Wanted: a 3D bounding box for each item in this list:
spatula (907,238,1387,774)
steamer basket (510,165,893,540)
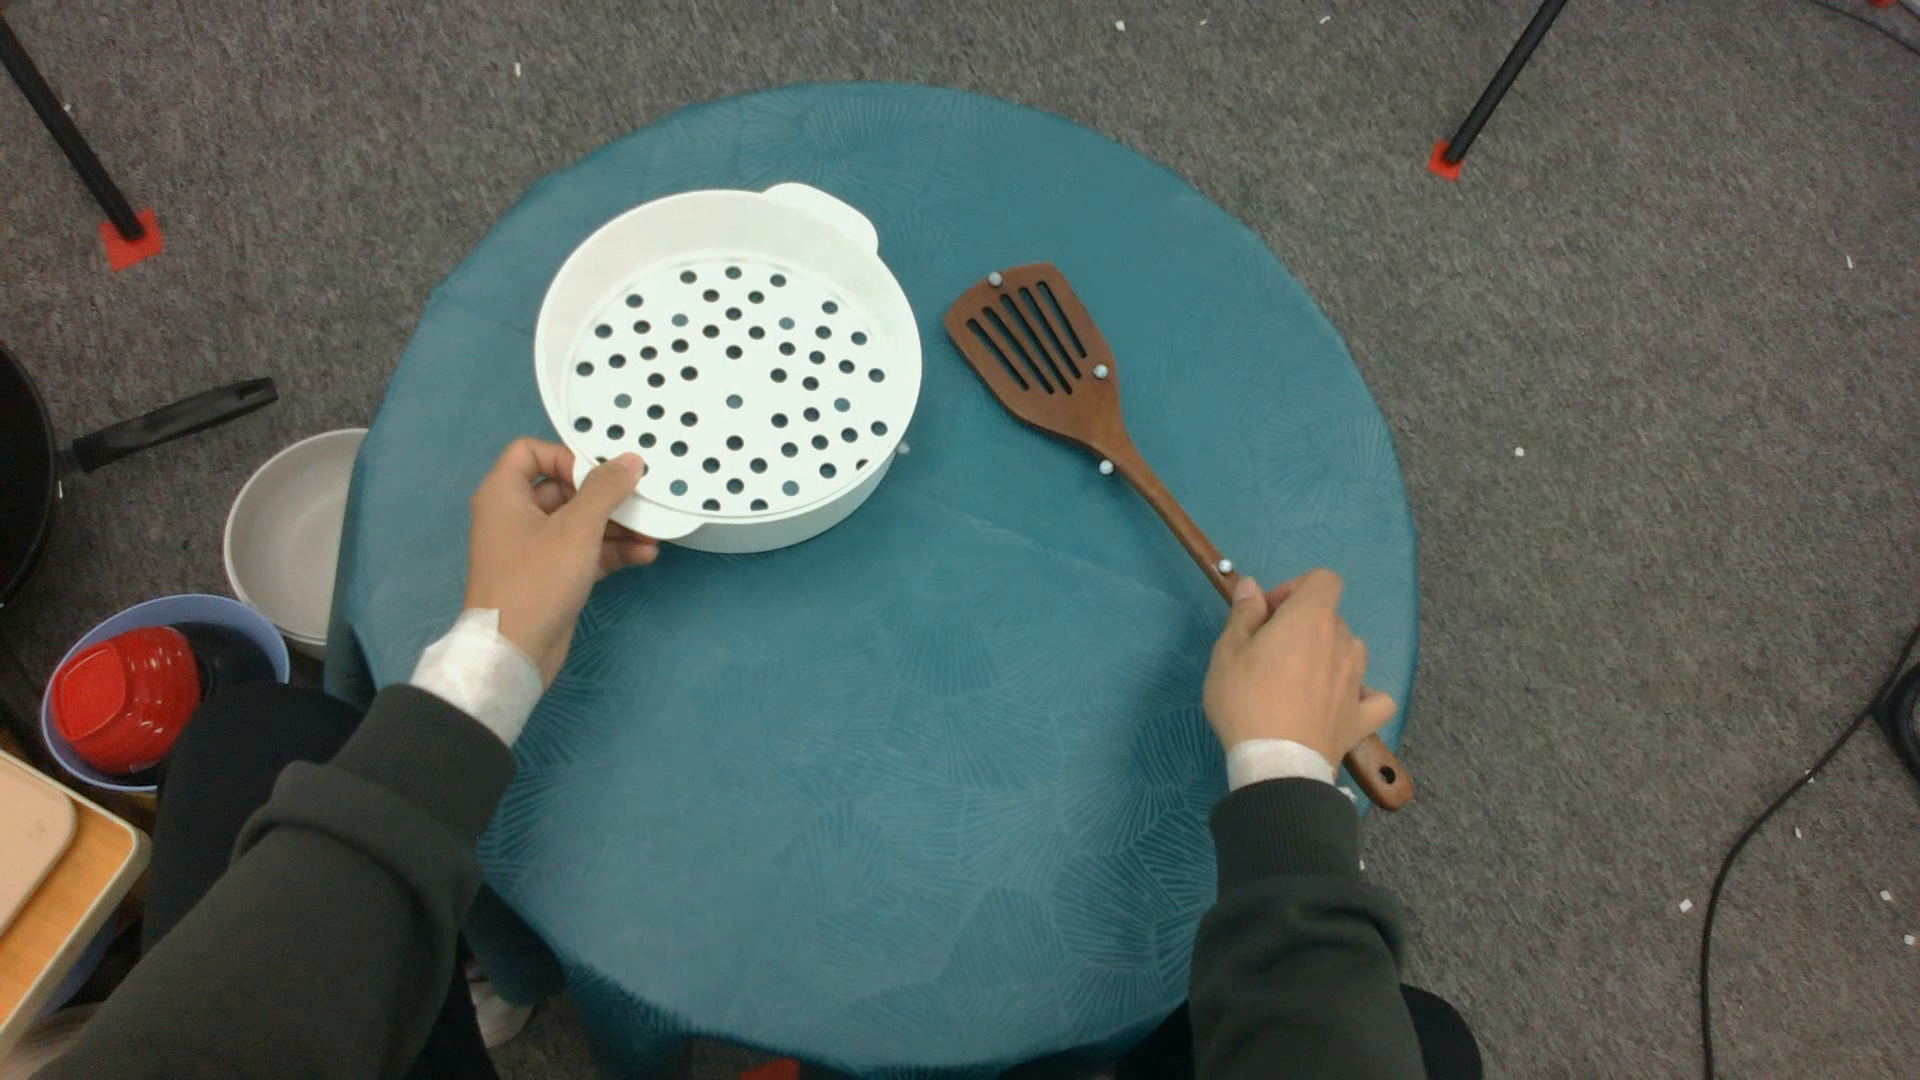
[{"bbox_3d":[0.108,-0.024,0.784,0.086,0.023,0.386,-32,71,-18],"label":"spatula"},{"bbox_3d":[-0.139,-0.098,0.760,0.202,0.069,0.231,24,69,3],"label":"steamer basket"}]
